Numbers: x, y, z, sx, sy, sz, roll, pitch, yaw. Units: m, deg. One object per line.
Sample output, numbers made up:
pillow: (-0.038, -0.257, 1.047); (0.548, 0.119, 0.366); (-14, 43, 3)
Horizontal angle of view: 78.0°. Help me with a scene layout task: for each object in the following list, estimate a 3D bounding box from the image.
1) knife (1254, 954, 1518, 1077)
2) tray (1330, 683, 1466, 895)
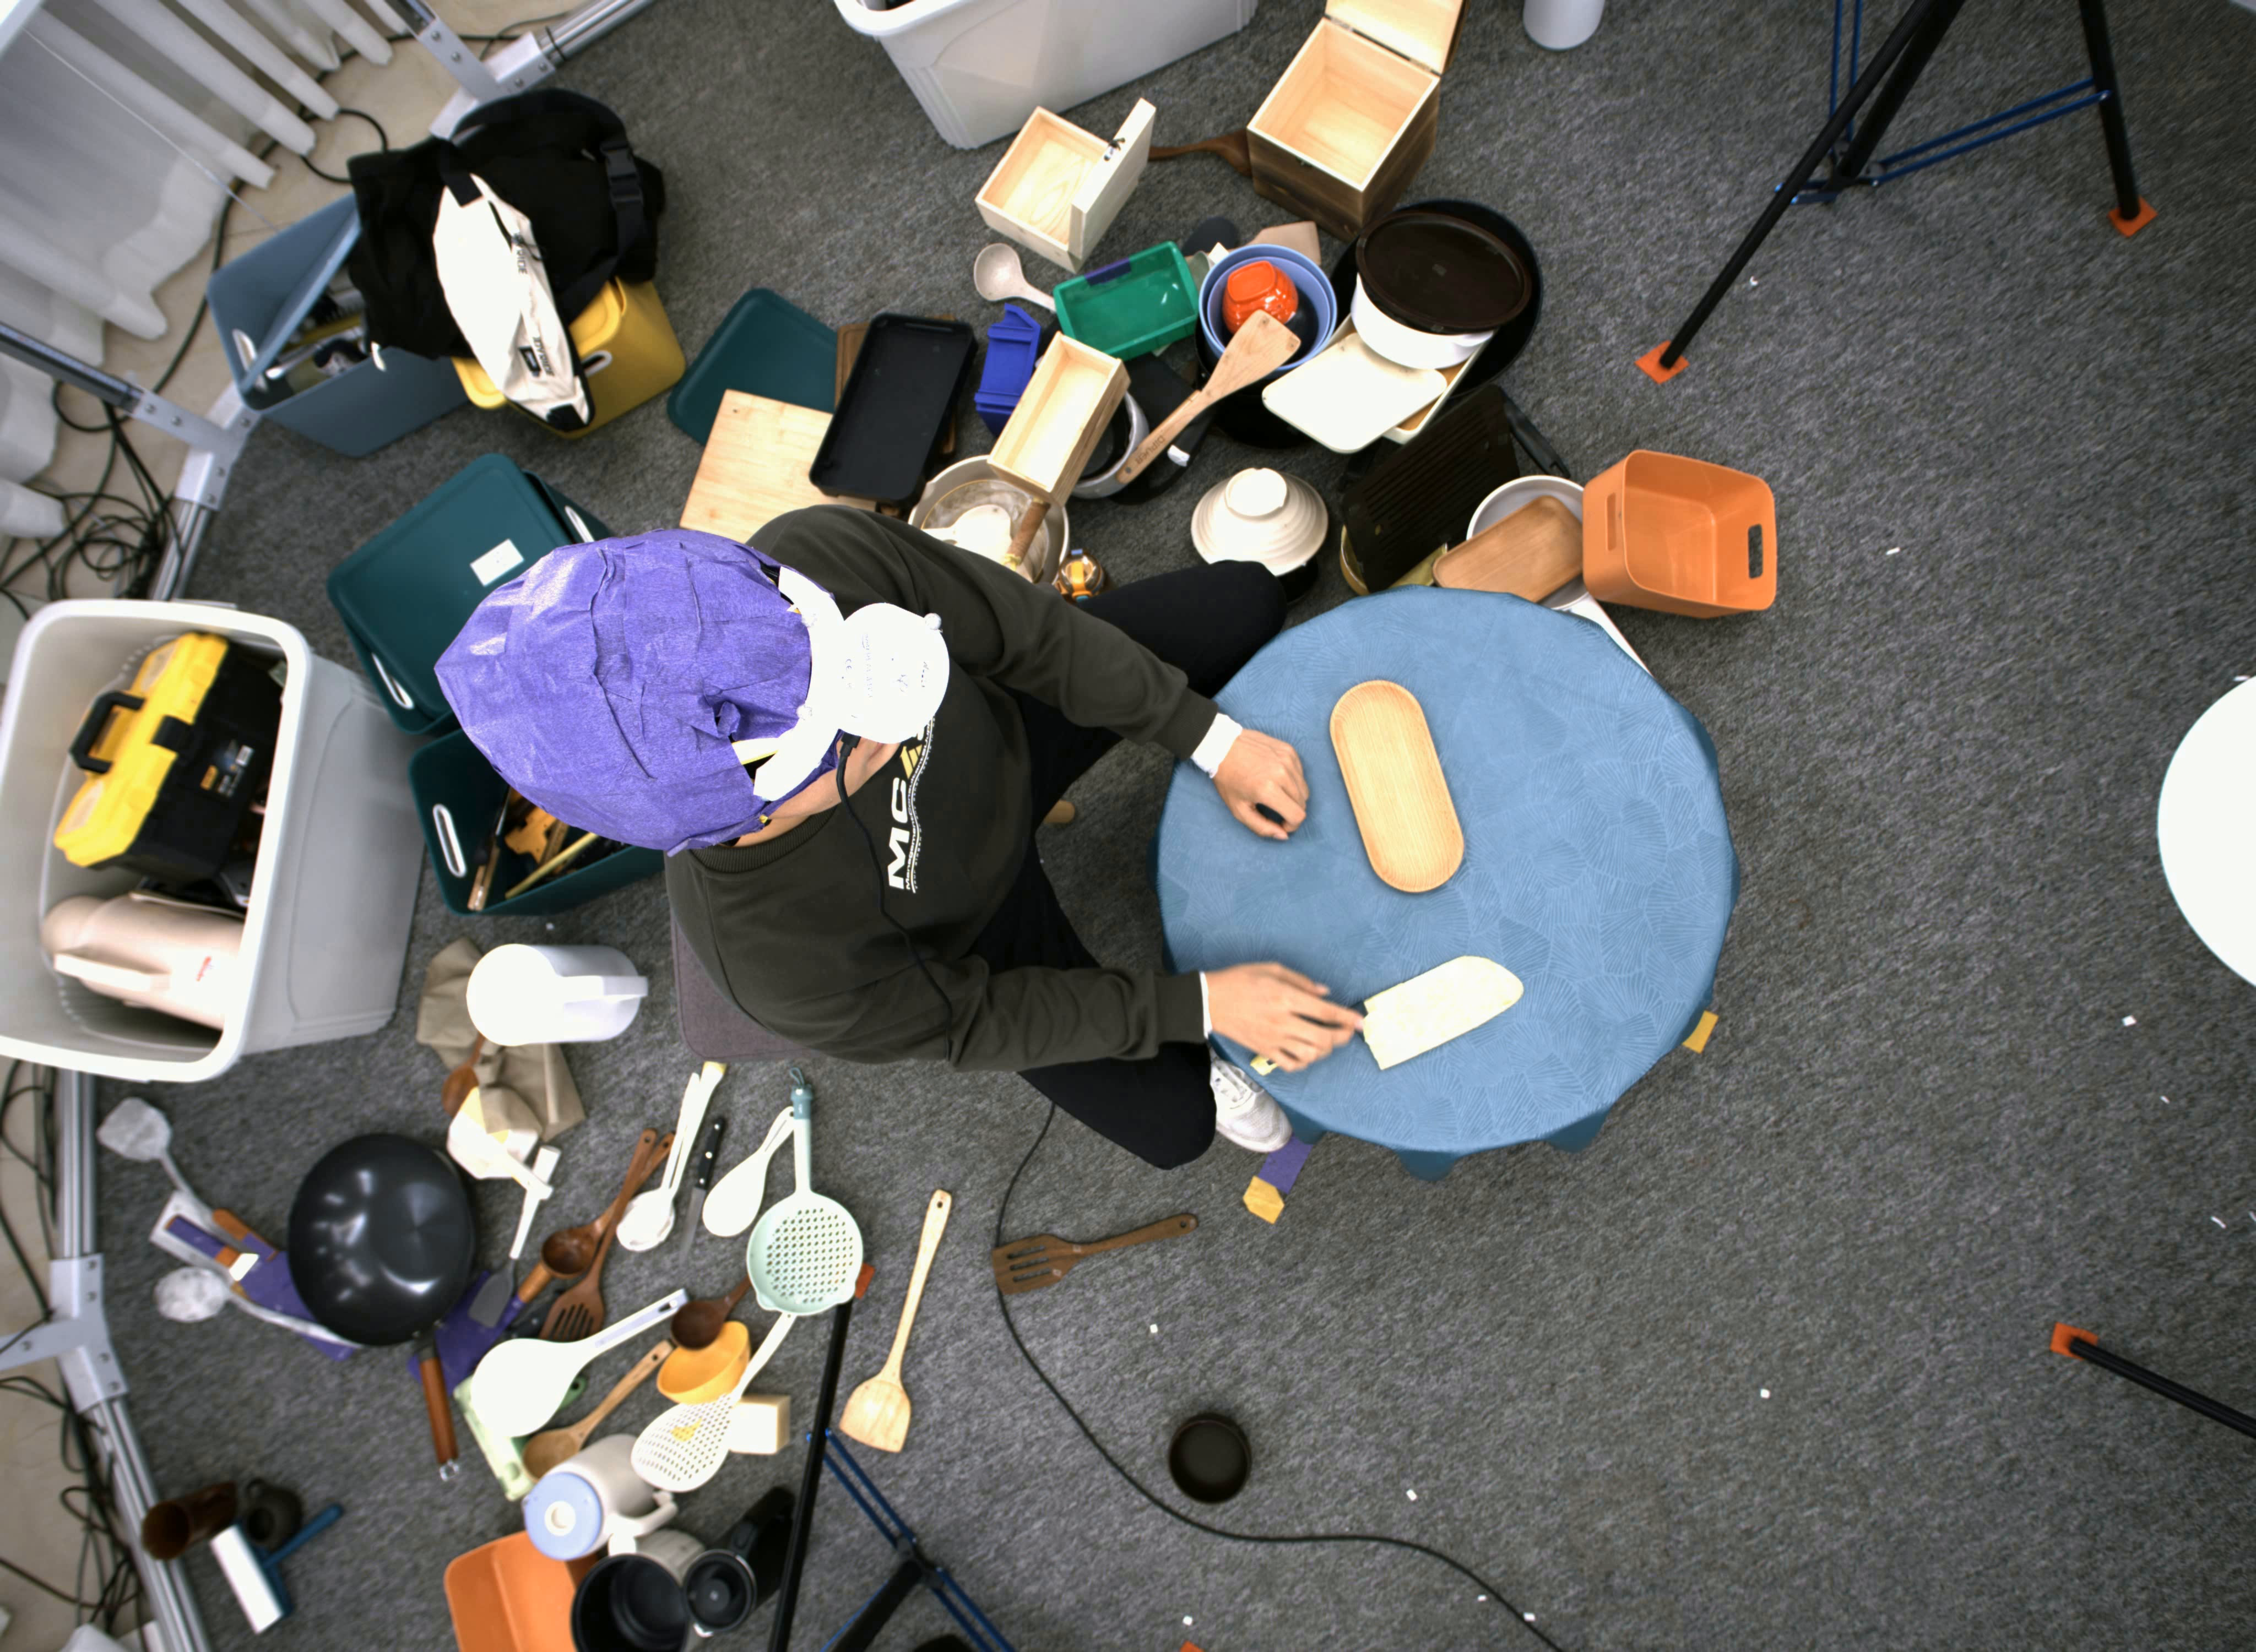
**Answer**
knife: (0.271, 0.208, 1.444); (0.291, 0.027, 0.080); (-23, 79, 7)
tray: (0.285, -0.041, 1.455); (0.102, 0.020, 0.230); (-18, 85, 11)
